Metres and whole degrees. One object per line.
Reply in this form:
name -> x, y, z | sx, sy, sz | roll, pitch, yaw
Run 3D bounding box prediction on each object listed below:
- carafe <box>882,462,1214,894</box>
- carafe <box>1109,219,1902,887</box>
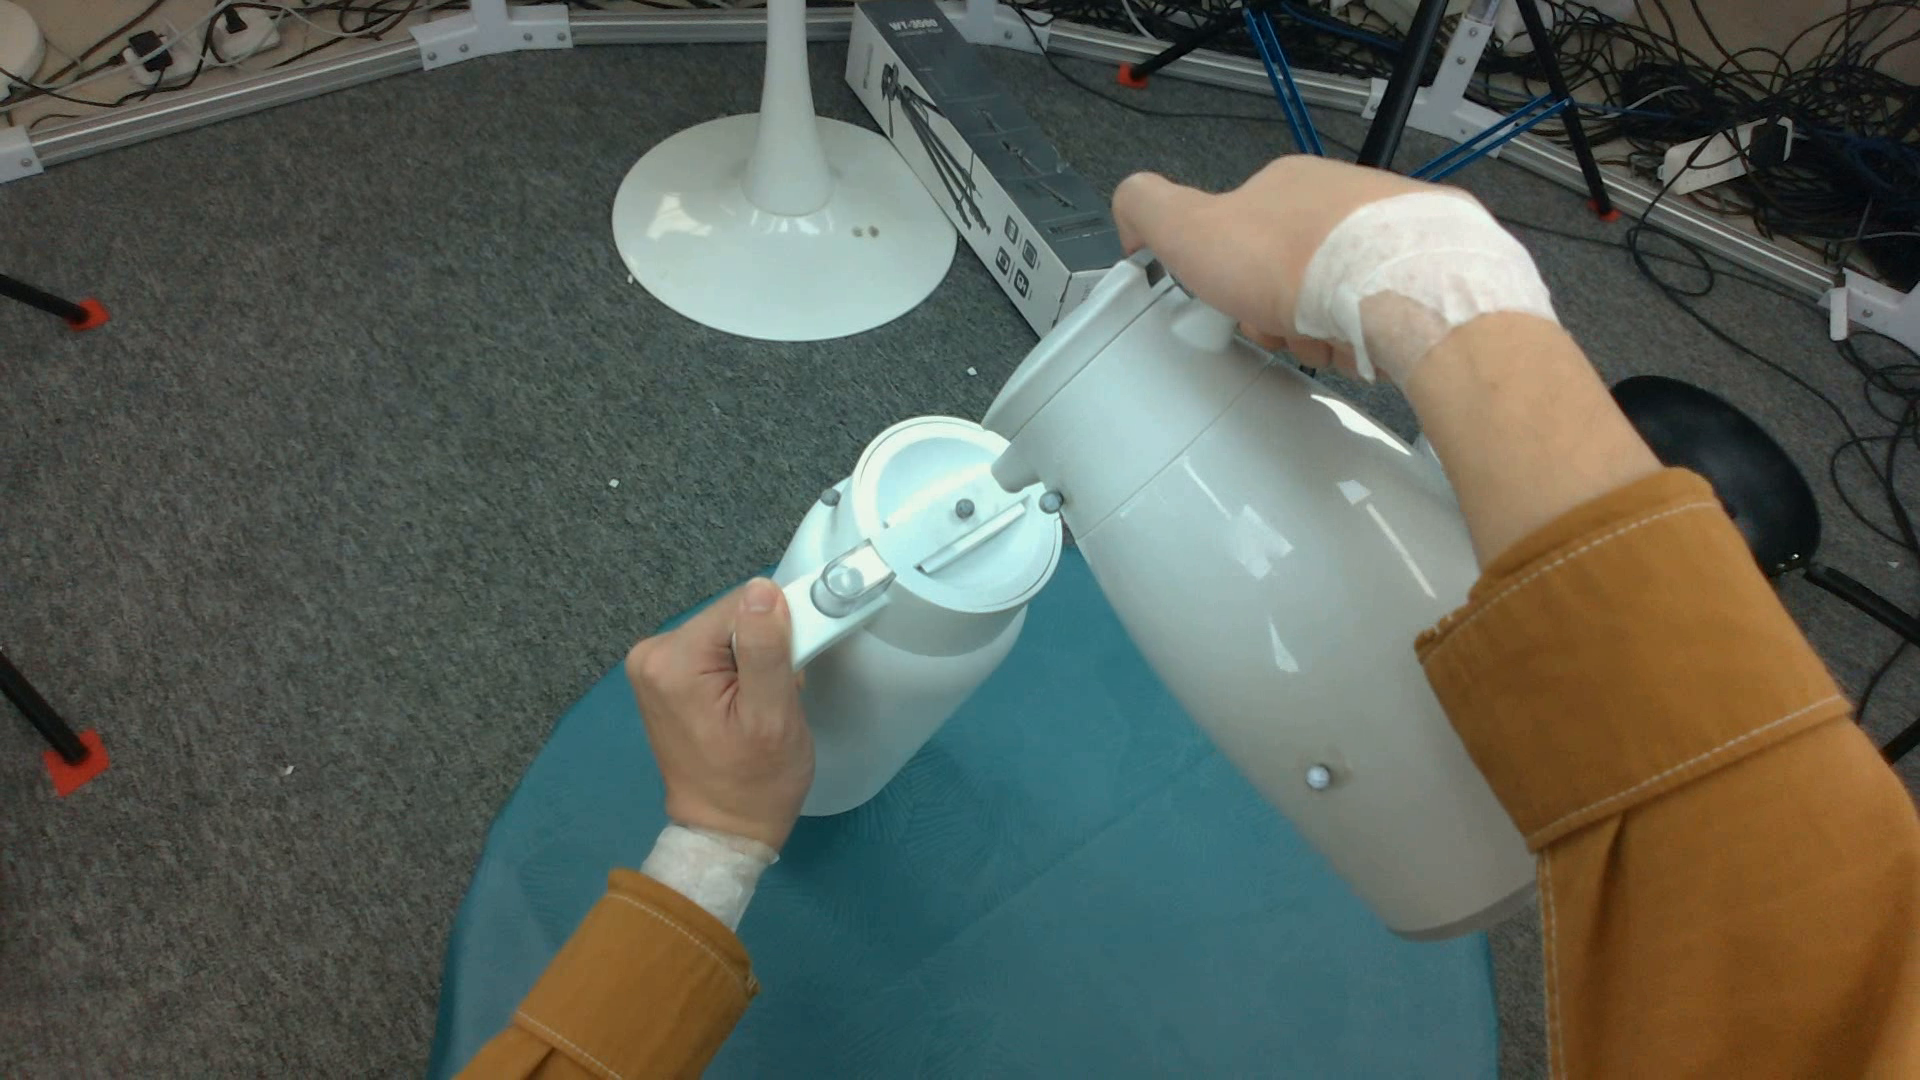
carafe -> 0.030, 0.089, 0.689 | 0.124, 0.267, 0.173 | 41, 58, 14
carafe -> 0.184, -0.015, 0.484 | 0.248, 0.167, 0.133 | 35, 40, 7
